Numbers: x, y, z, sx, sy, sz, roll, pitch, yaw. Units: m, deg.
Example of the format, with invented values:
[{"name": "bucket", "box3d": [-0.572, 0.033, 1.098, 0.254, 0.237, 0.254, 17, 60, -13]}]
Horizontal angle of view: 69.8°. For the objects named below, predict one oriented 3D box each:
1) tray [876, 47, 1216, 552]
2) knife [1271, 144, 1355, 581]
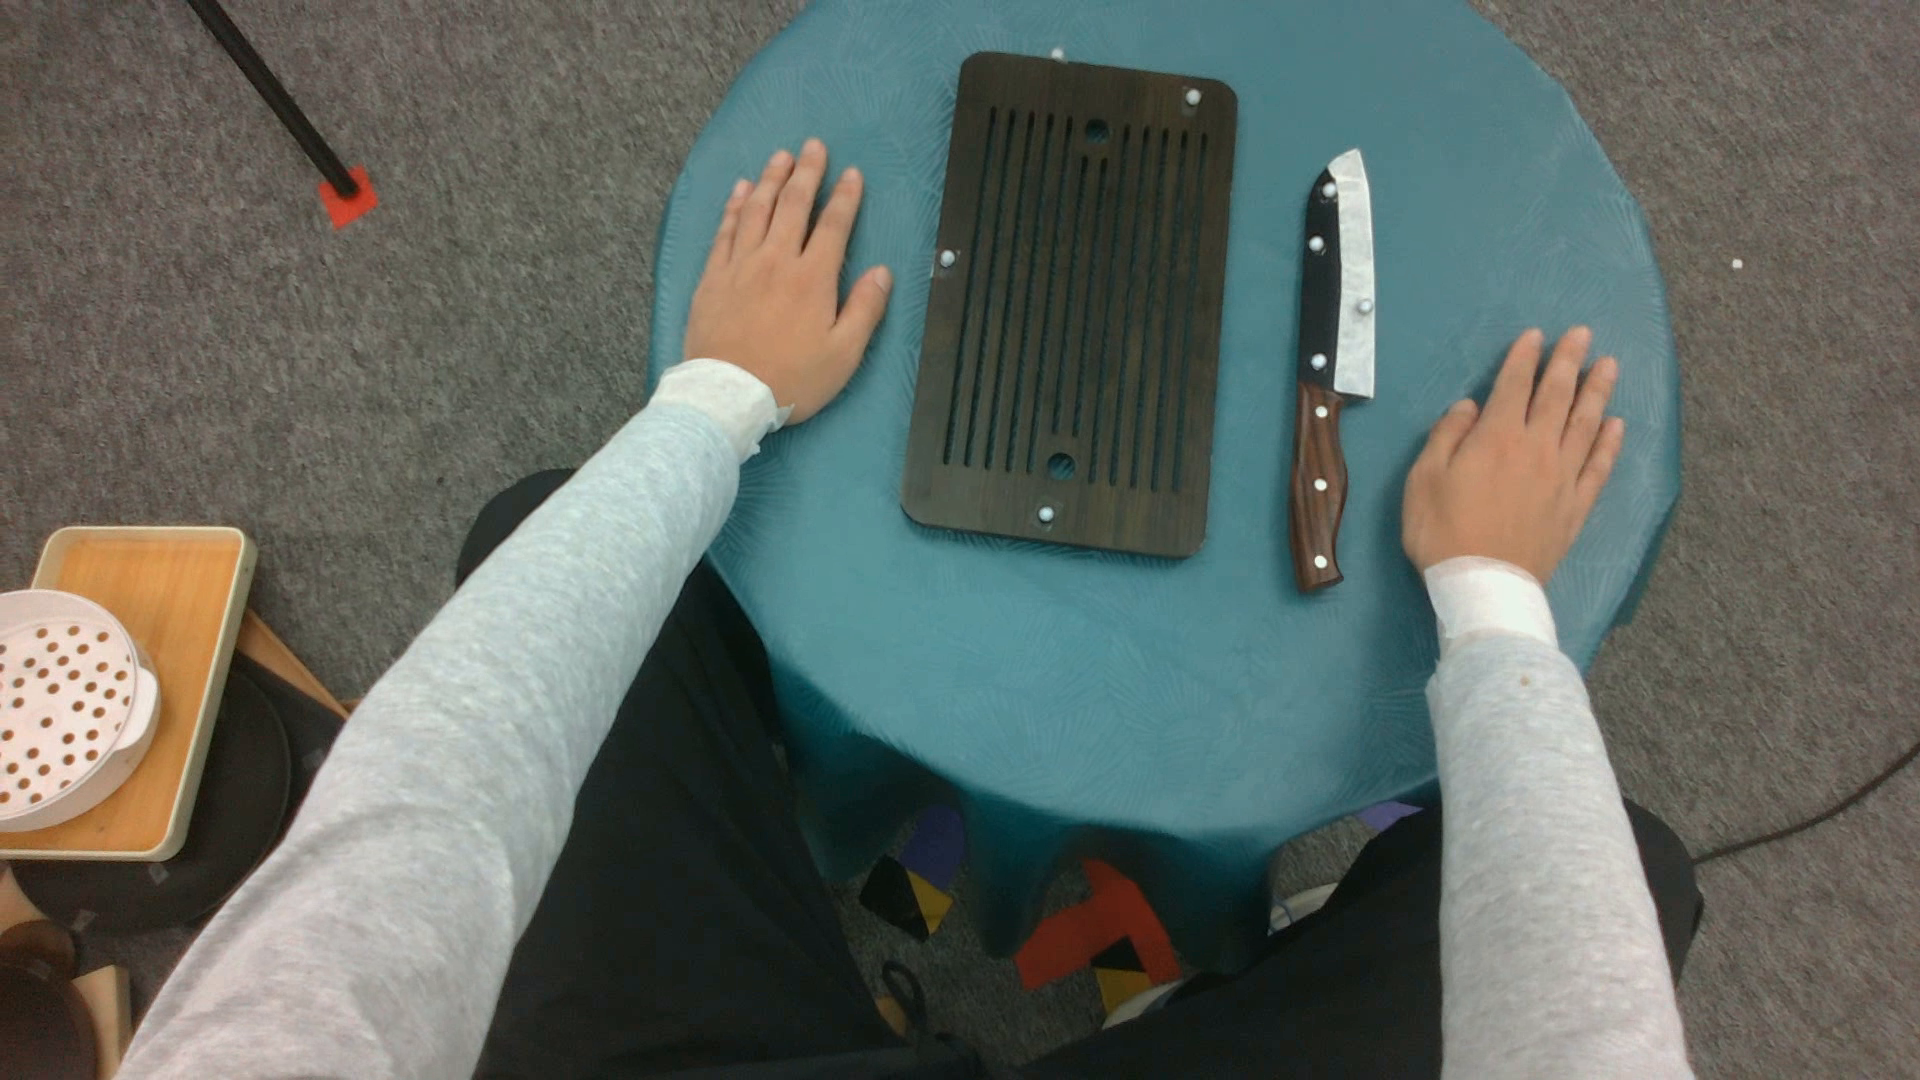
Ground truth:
[{"name": "tray", "box3d": [0.055, -0.146, 0.799, 0.170, 0.018, 0.307, 8, 72, 0]}, {"name": "knife", "box3d": [0.204, -0.111, 0.796, 0.050, 0.020, 0.290, 10, 69, -2]}]
